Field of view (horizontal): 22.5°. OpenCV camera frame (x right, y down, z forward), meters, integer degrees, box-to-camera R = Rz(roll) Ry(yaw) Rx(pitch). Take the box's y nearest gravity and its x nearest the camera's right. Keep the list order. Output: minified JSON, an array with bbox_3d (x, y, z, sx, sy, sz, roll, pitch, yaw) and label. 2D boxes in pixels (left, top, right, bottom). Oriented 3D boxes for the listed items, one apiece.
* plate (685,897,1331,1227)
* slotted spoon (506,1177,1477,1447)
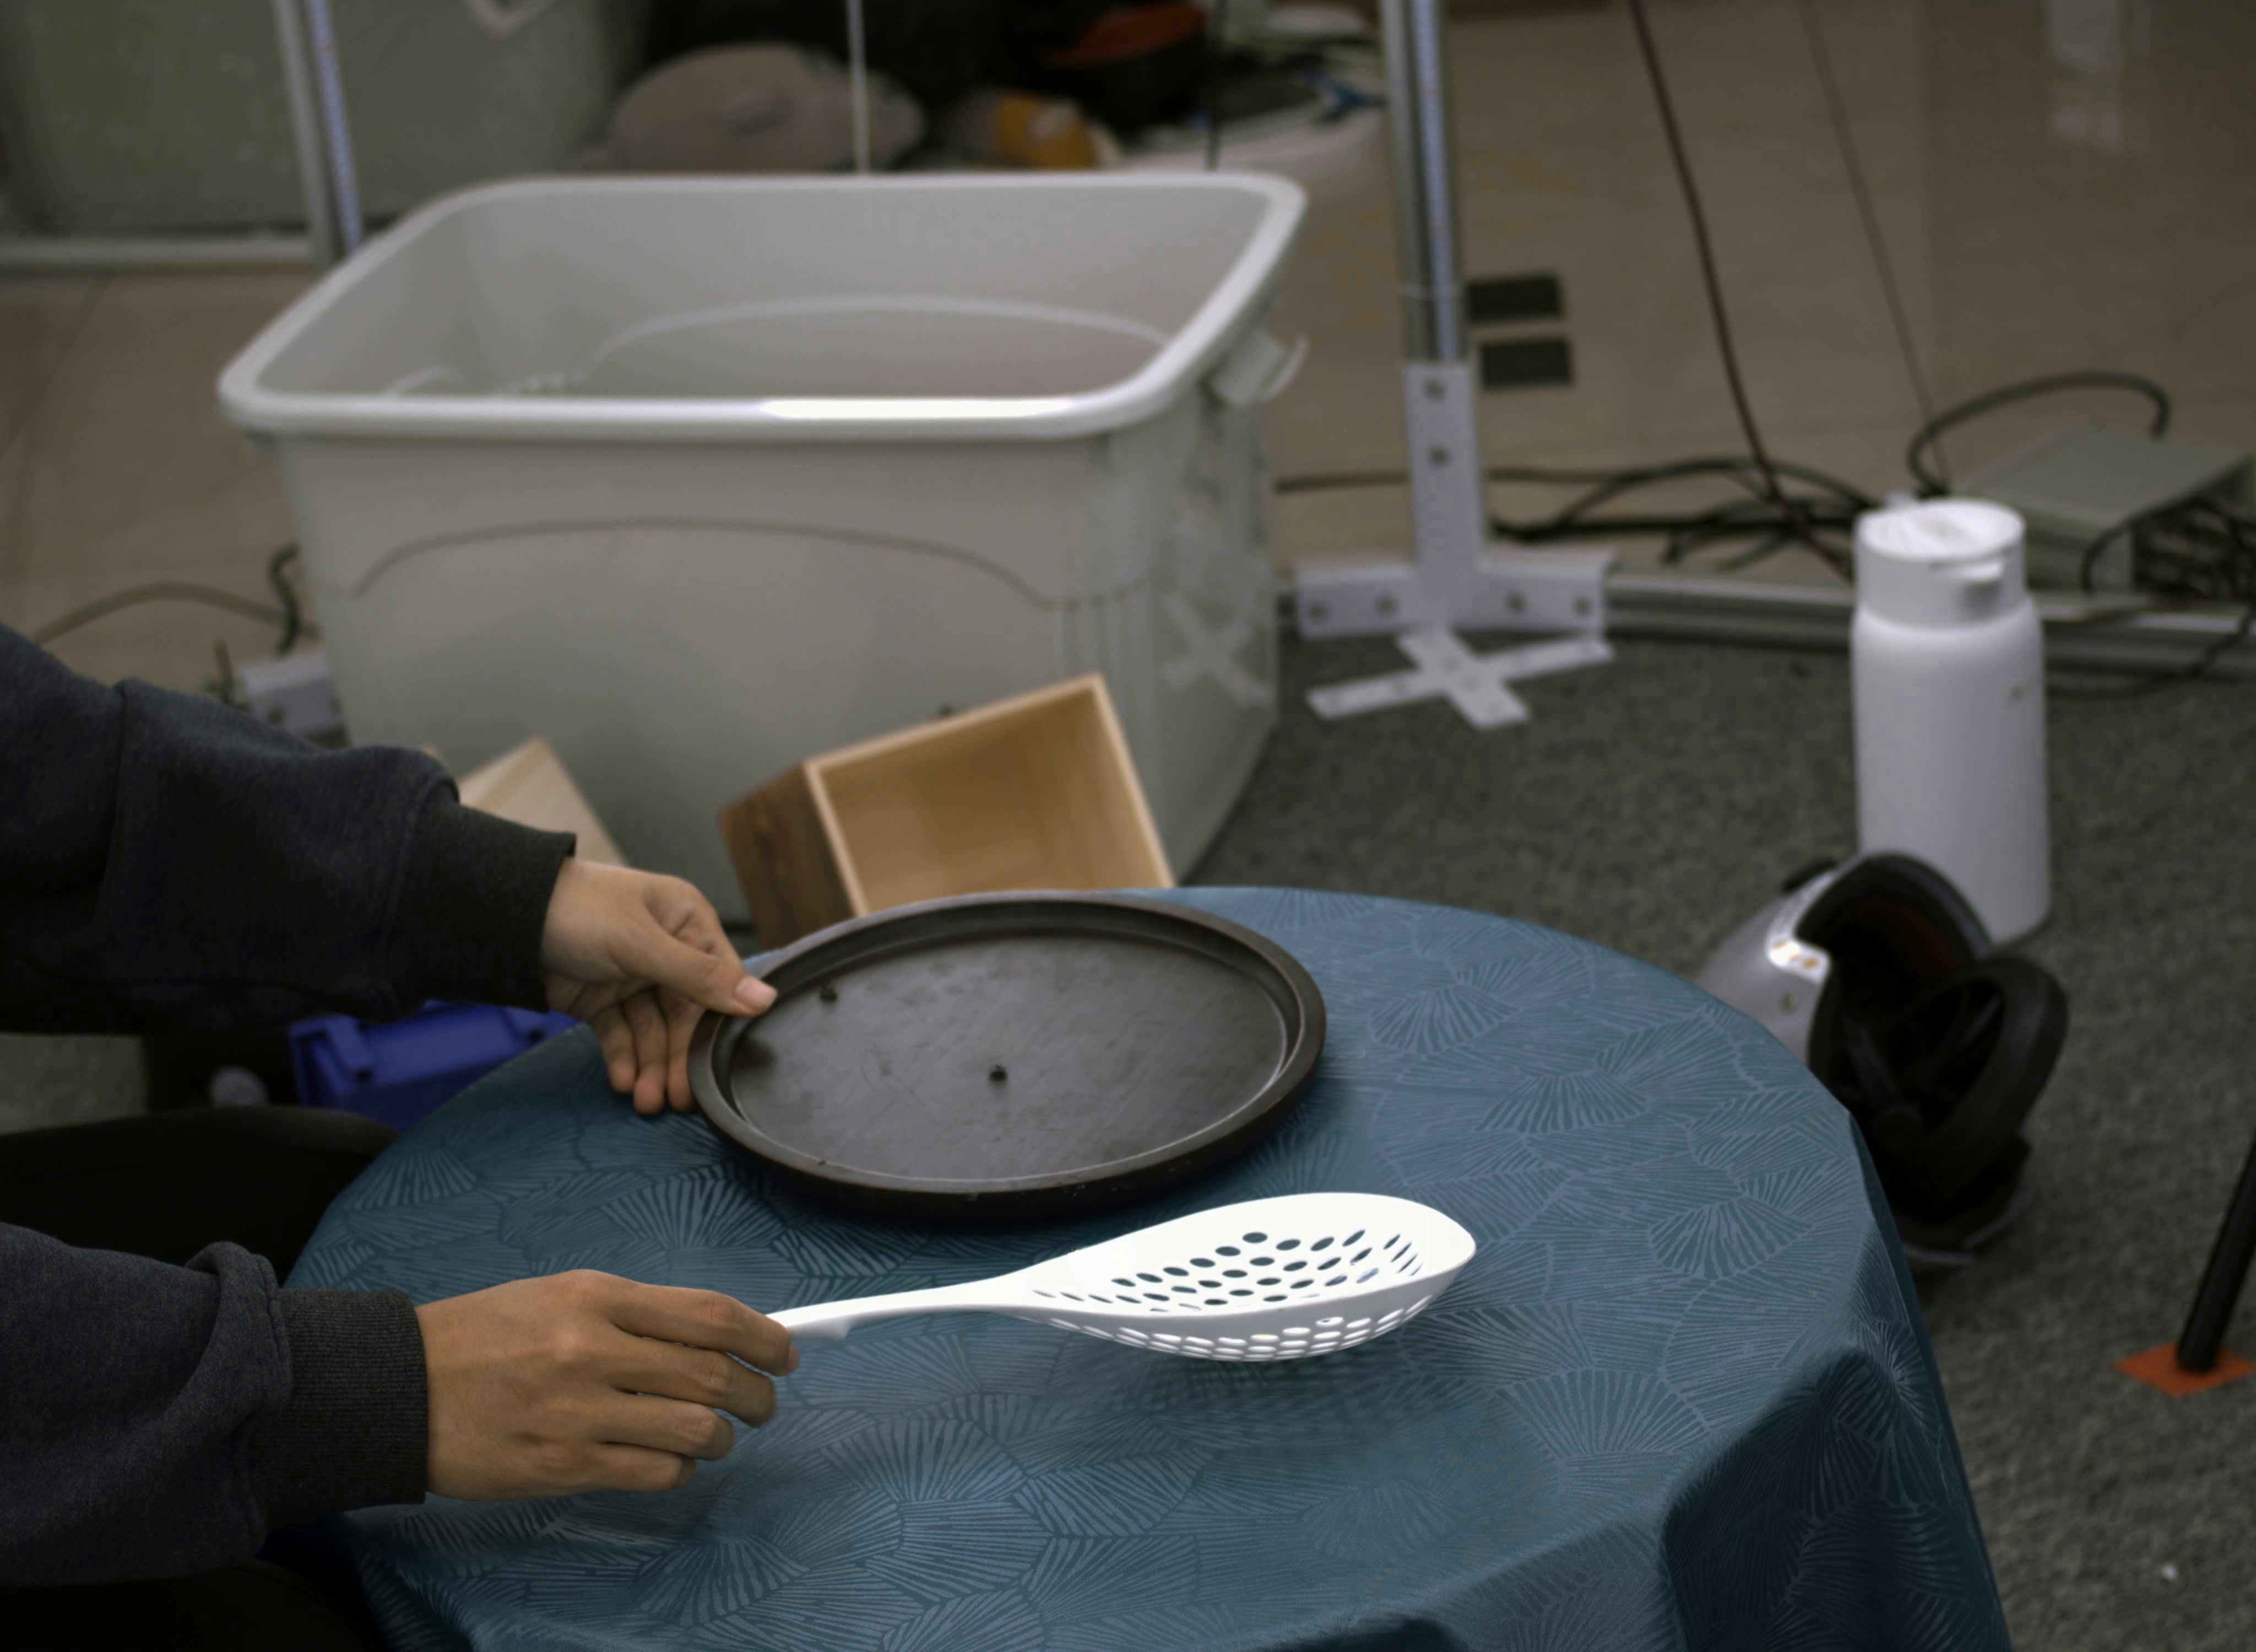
[{"bbox_3d":[-0.047,0.090,2.223,0.254,0.029,0.251,-3,27,2],"label":"plate"},{"bbox_3d":[-0.048,0.175,1.996,0.347,0.051,0.135,-4,13,-13],"label":"slotted spoon"}]
